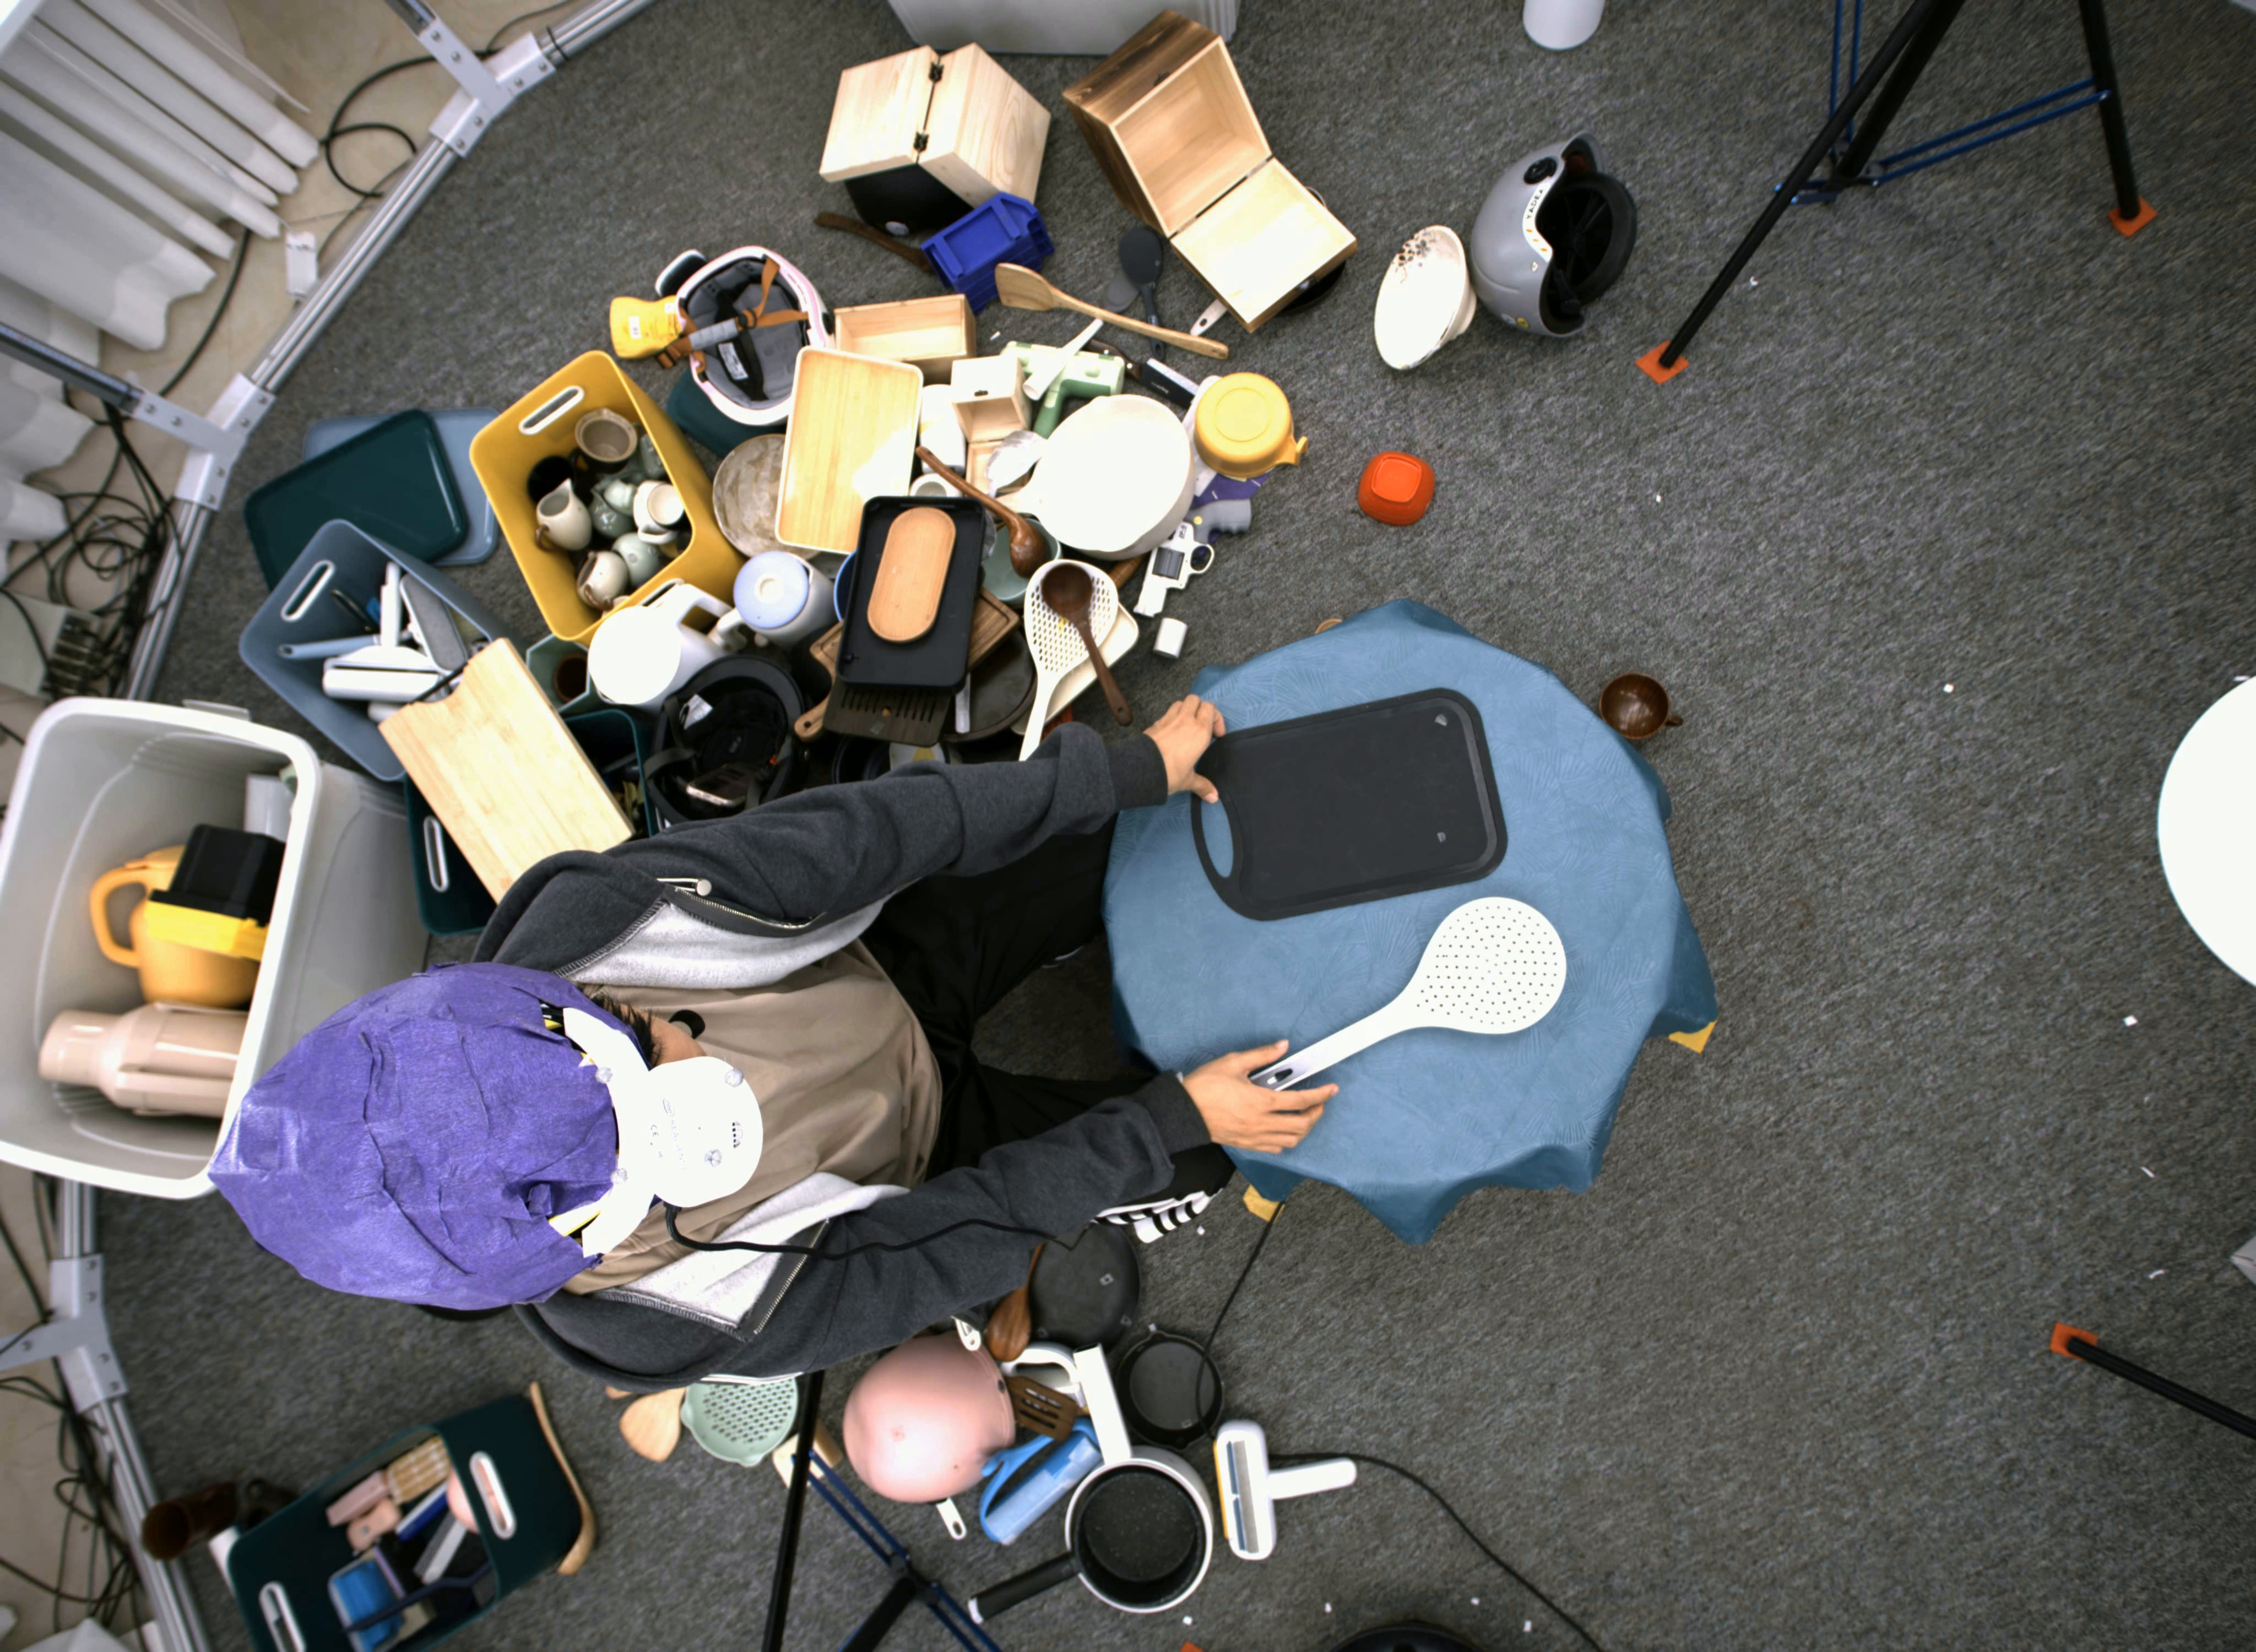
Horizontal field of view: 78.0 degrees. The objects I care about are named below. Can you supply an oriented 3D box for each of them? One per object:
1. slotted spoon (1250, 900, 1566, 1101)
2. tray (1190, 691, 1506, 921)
[{"bbox_3d":[0.283,0.194,1.427,0.352,0.046,0.135,-29,80,8],"label":"slotted spoon"},{"bbox_3d":[0.228,-0.020,1.469,0.327,0.010,0.210,-11,85,10],"label":"tray"}]
